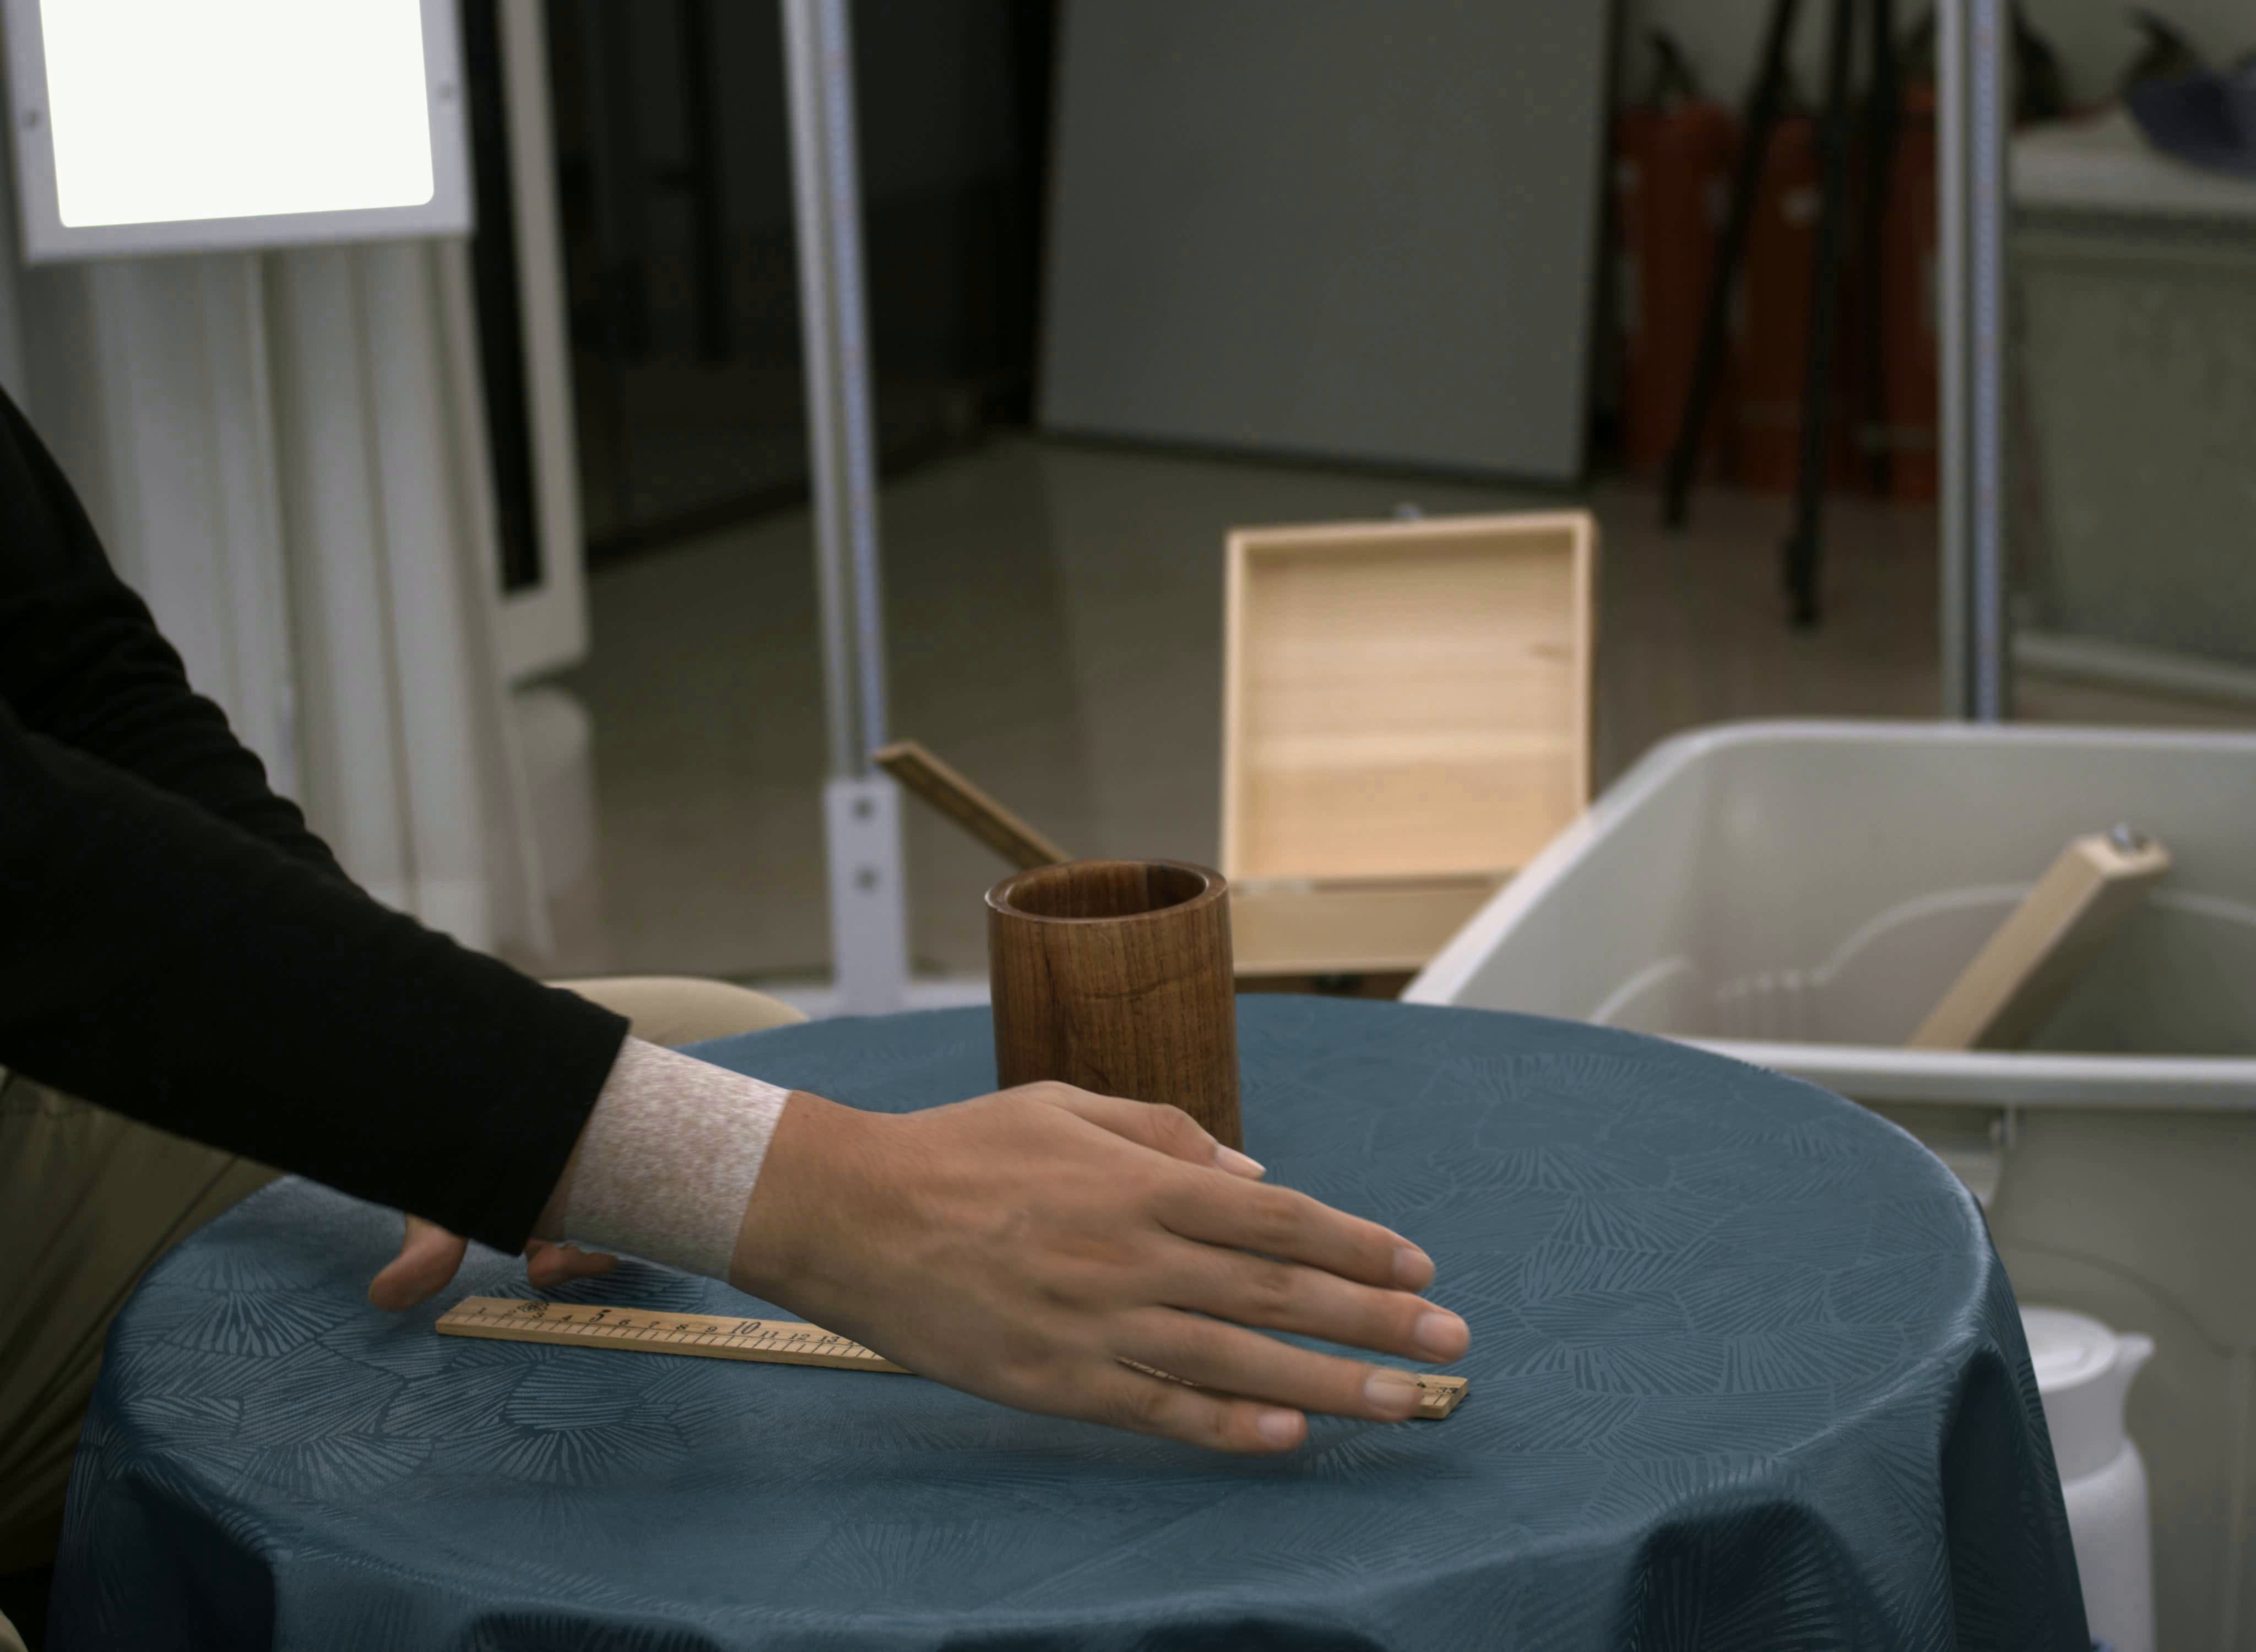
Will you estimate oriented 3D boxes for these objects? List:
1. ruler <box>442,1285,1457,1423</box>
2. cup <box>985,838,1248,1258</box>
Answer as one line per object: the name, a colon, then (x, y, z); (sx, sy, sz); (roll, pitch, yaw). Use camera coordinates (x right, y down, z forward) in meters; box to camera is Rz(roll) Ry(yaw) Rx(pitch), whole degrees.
ruler: (-0.059, 0.157, 1.621); (0.332, 0.022, 0.027); (2, 8, 25)
cup: (-0.003, 0.070, 1.731); (0.086, 0.120, 0.088); (-4, 12, 0)
